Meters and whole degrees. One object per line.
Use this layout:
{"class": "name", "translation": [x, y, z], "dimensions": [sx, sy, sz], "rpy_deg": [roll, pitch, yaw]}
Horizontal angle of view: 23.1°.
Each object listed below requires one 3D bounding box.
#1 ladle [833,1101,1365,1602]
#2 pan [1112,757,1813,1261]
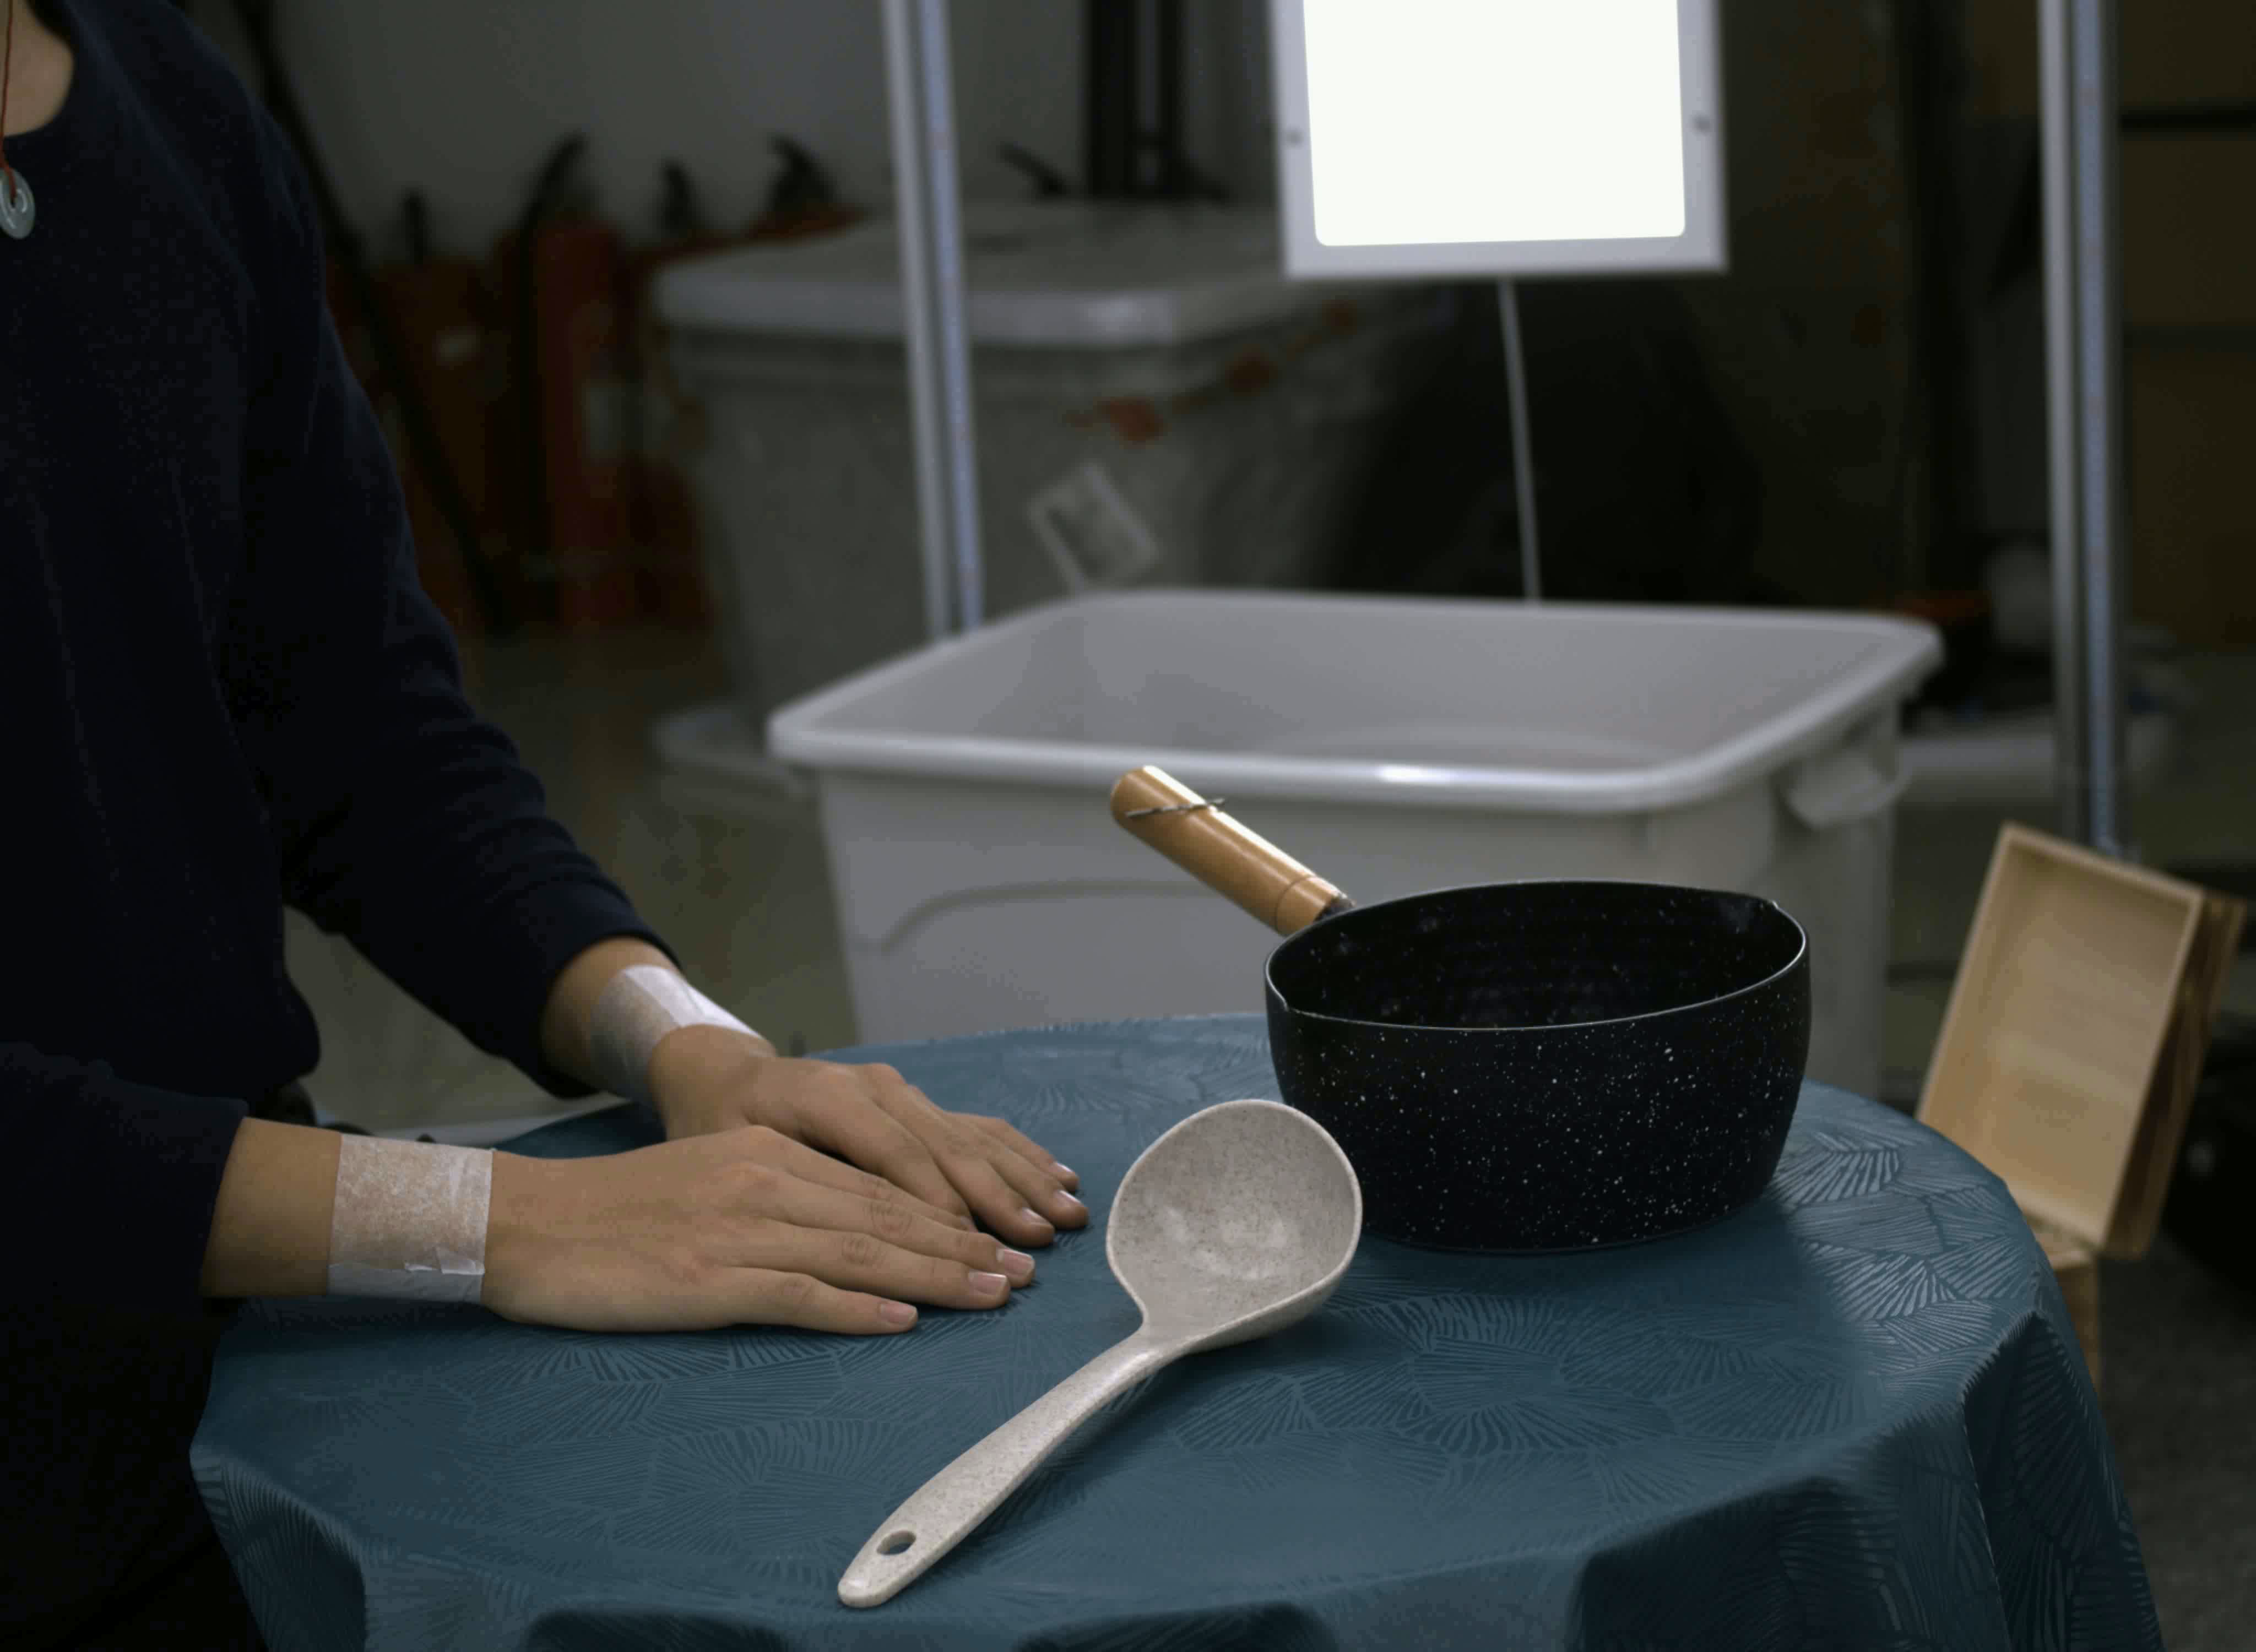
{"class": "ladle", "translation": [-0.016, 0.152, 1.652], "dimensions": [0.091, 0.070, 0.269], "rpy_deg": [7, 17, 28]}
{"class": "pan", "translation": [0.095, 0.057, 1.915], "dimensions": [0.203, 0.108, 0.349], "rpy_deg": [-15, 18, -30]}
